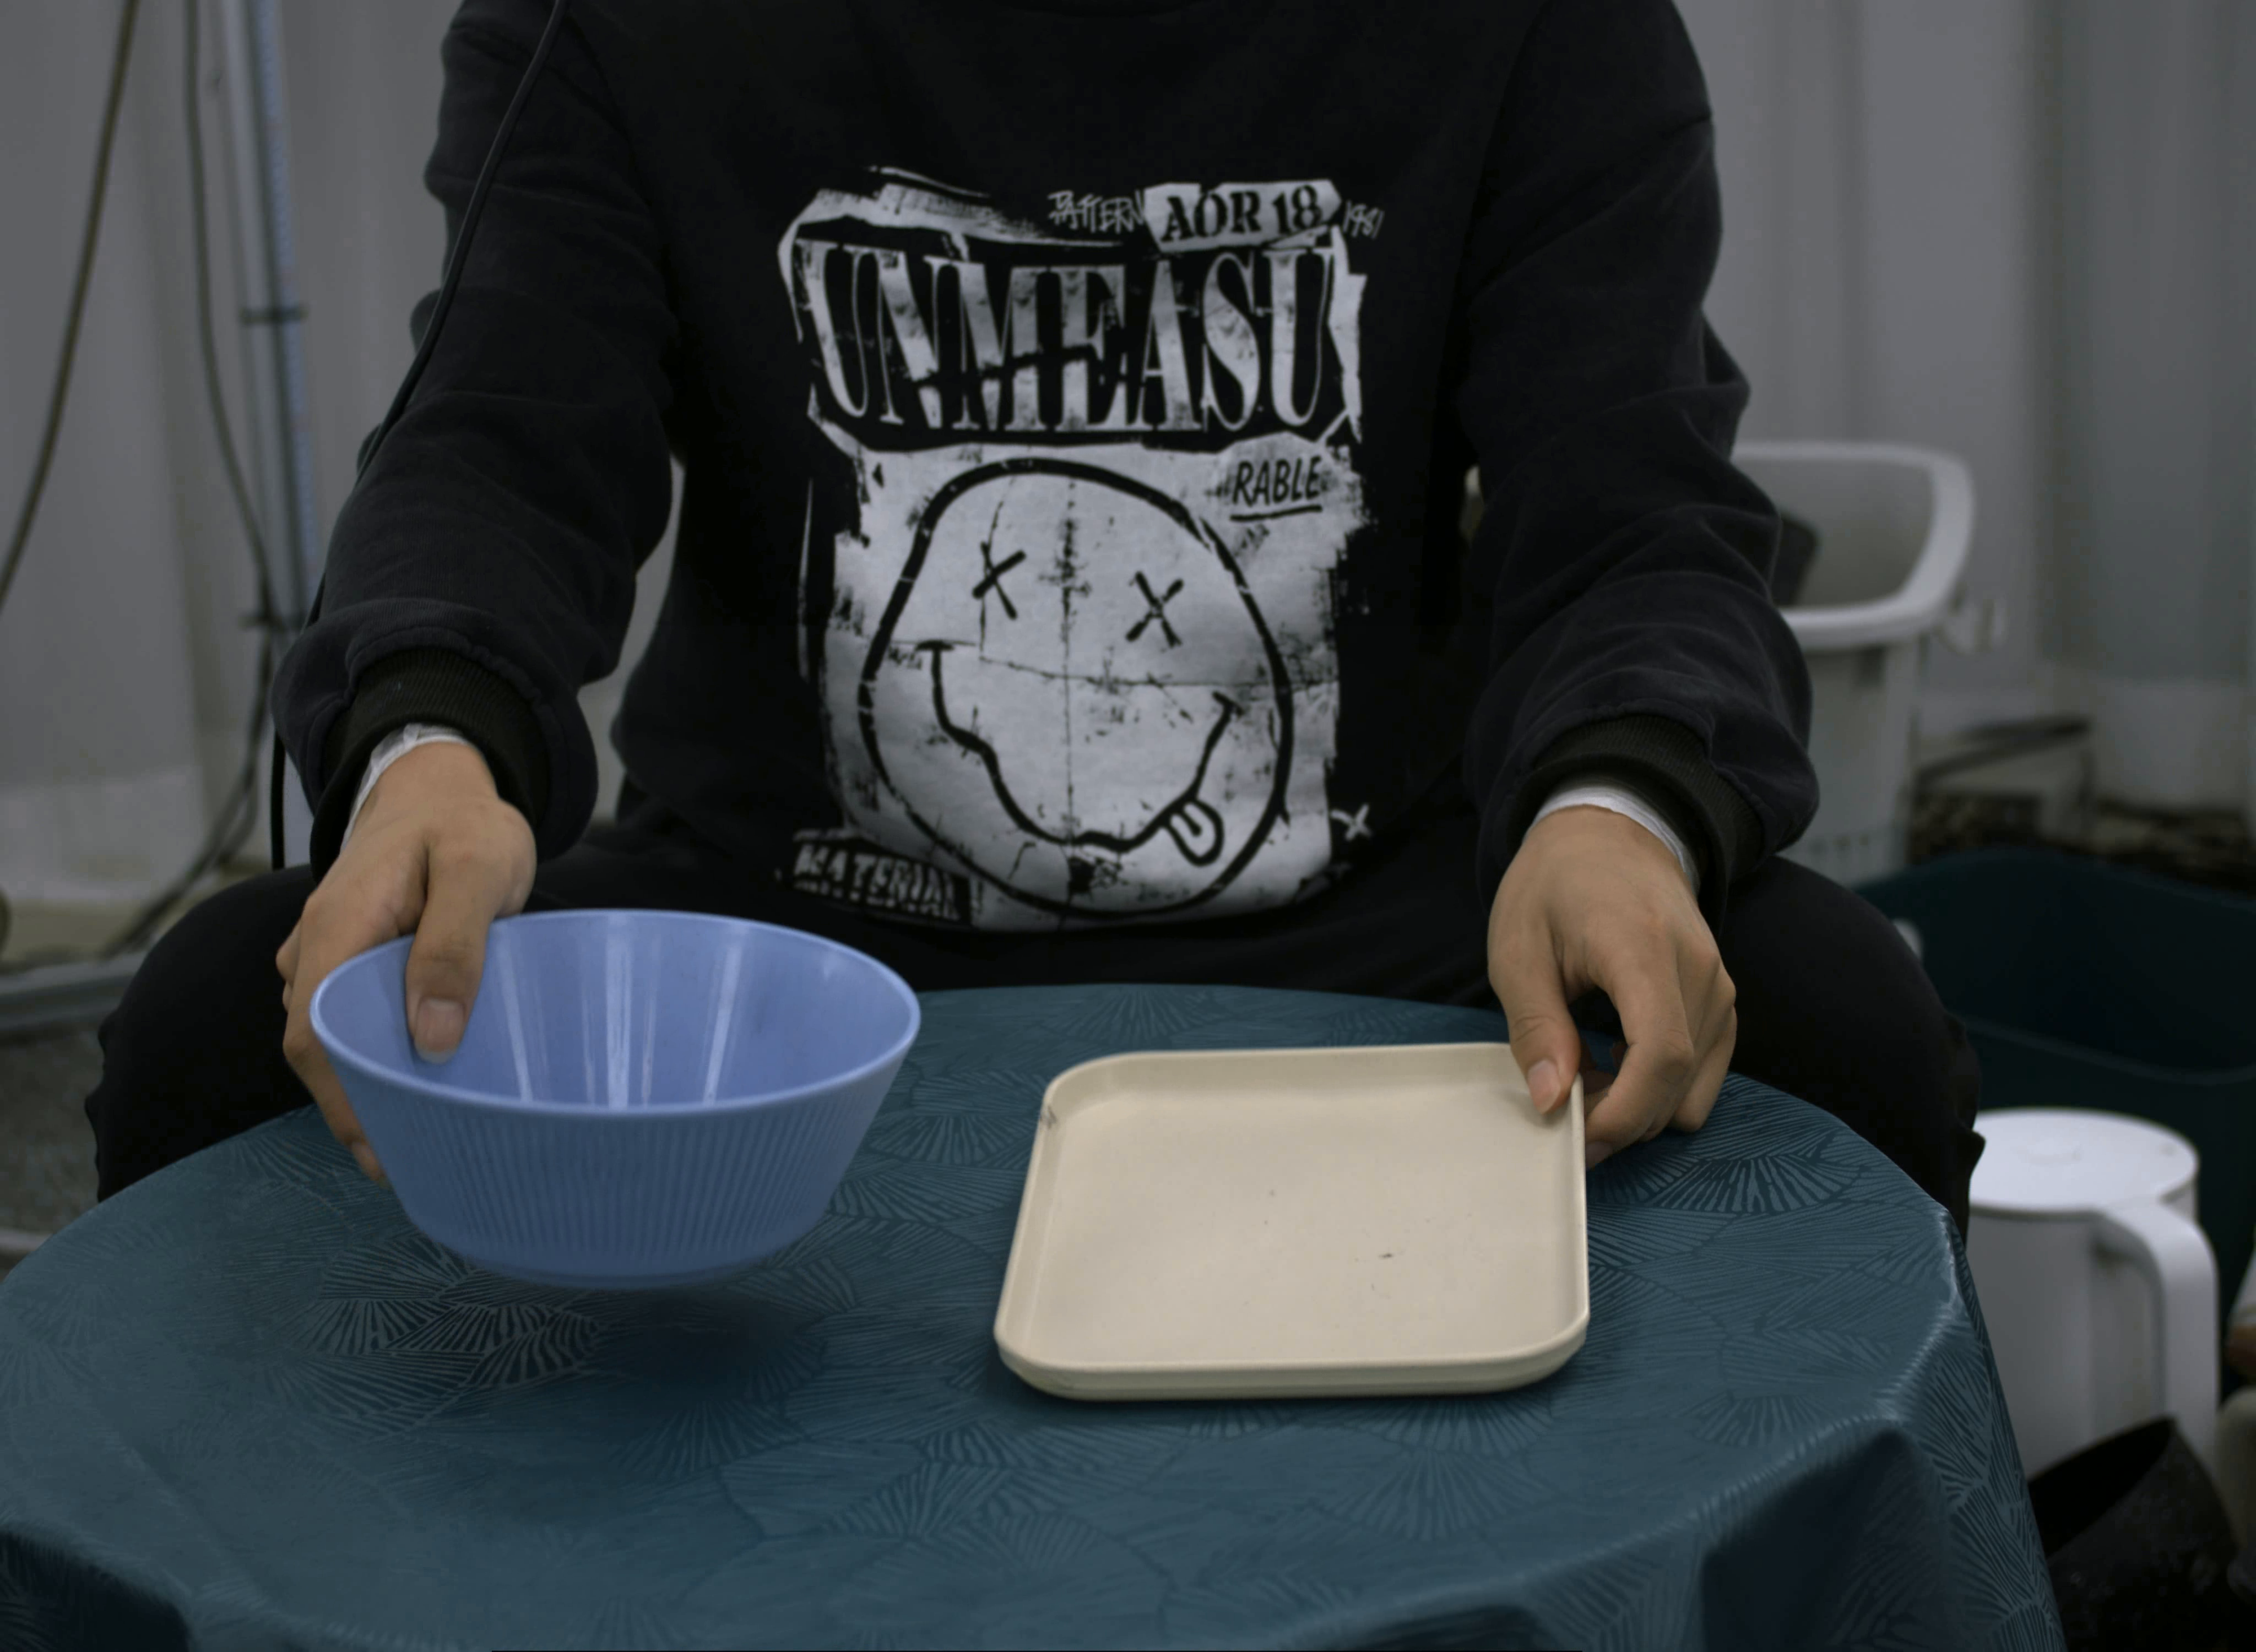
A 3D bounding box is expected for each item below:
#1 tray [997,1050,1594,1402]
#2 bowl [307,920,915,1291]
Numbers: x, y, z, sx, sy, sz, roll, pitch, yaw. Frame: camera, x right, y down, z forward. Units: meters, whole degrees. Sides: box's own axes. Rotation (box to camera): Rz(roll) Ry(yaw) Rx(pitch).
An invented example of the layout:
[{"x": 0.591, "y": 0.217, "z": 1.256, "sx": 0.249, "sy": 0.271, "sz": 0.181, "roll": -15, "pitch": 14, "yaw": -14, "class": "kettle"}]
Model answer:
[{"x": 0.053, "y": 0.118, "z": 1.632, "sx": 0.171, "sy": 0.017, "sz": 0.241, "roll": -1, "pitch": 18, "yaw": 5, "class": "tray"}, {"x": -0.151, "y": 0.084, "z": 1.591, "sx": 0.175, "sy": 0.070, "sz": 0.177, "roll": 3, "pitch": 17, "yaw": -1, "class": "bowl"}]
